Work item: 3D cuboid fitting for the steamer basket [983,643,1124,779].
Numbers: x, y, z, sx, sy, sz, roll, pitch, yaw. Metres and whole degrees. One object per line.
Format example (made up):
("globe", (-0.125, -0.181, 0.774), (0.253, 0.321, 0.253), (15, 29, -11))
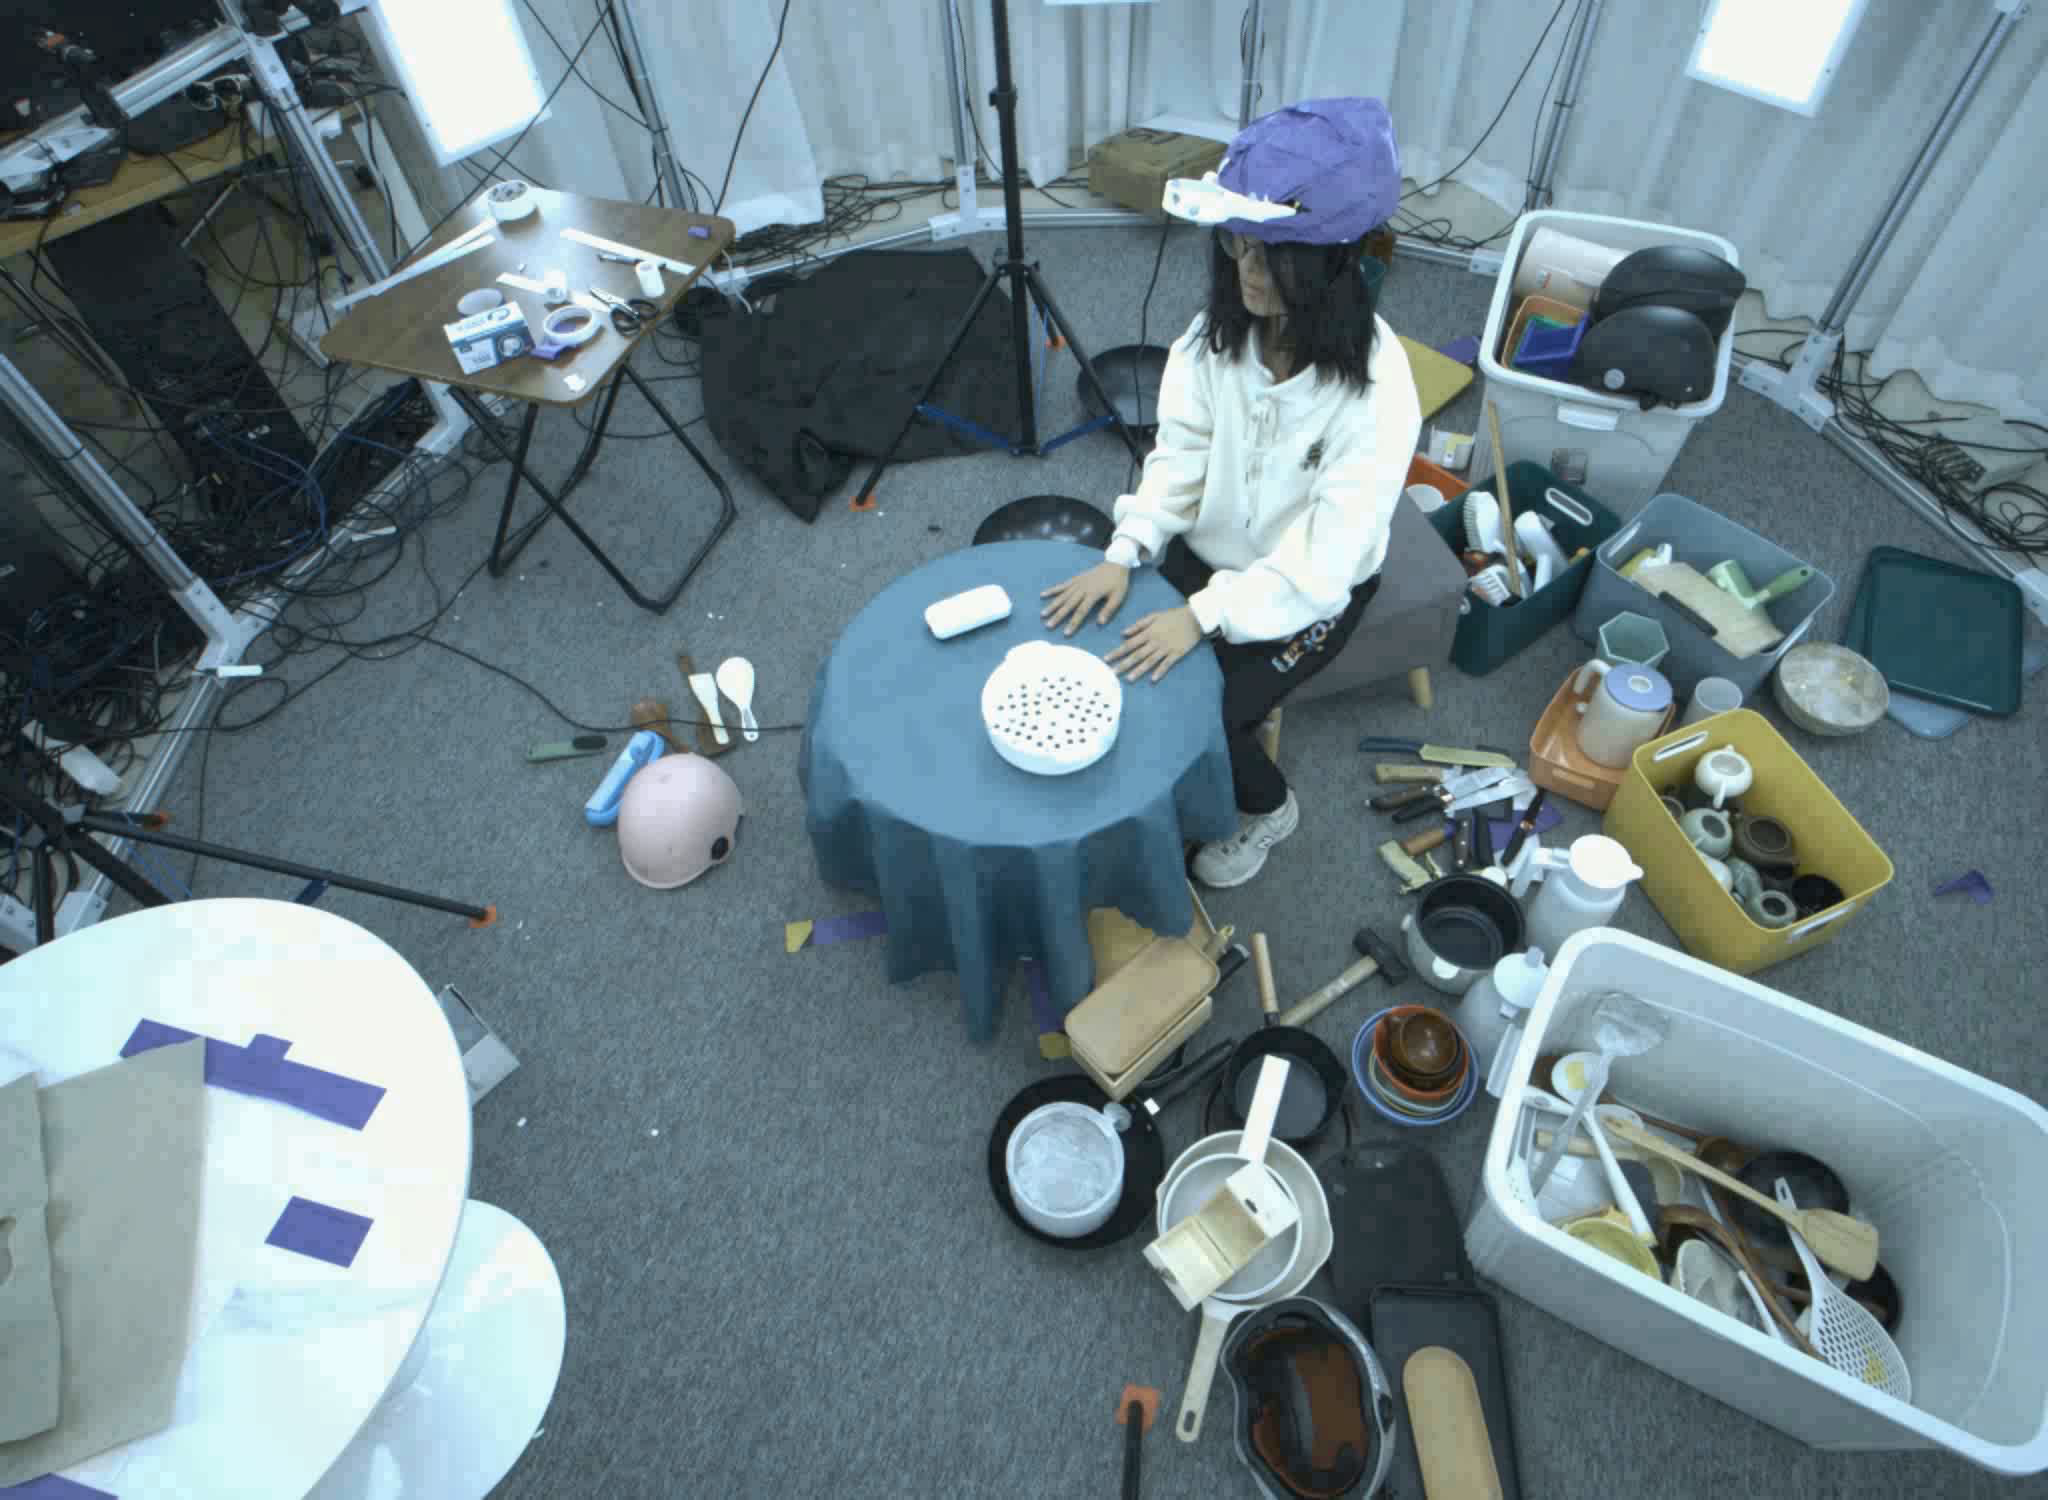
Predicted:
("steamer basket", (0.044, -0.052, 1.781), (0.203, 0.070, 0.226), (-18, 57, -11))

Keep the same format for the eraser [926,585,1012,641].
("eraser", (-0.086, -0.216, 1.924), (0.132, 0.035, 0.062), (-20, 56, -11))
